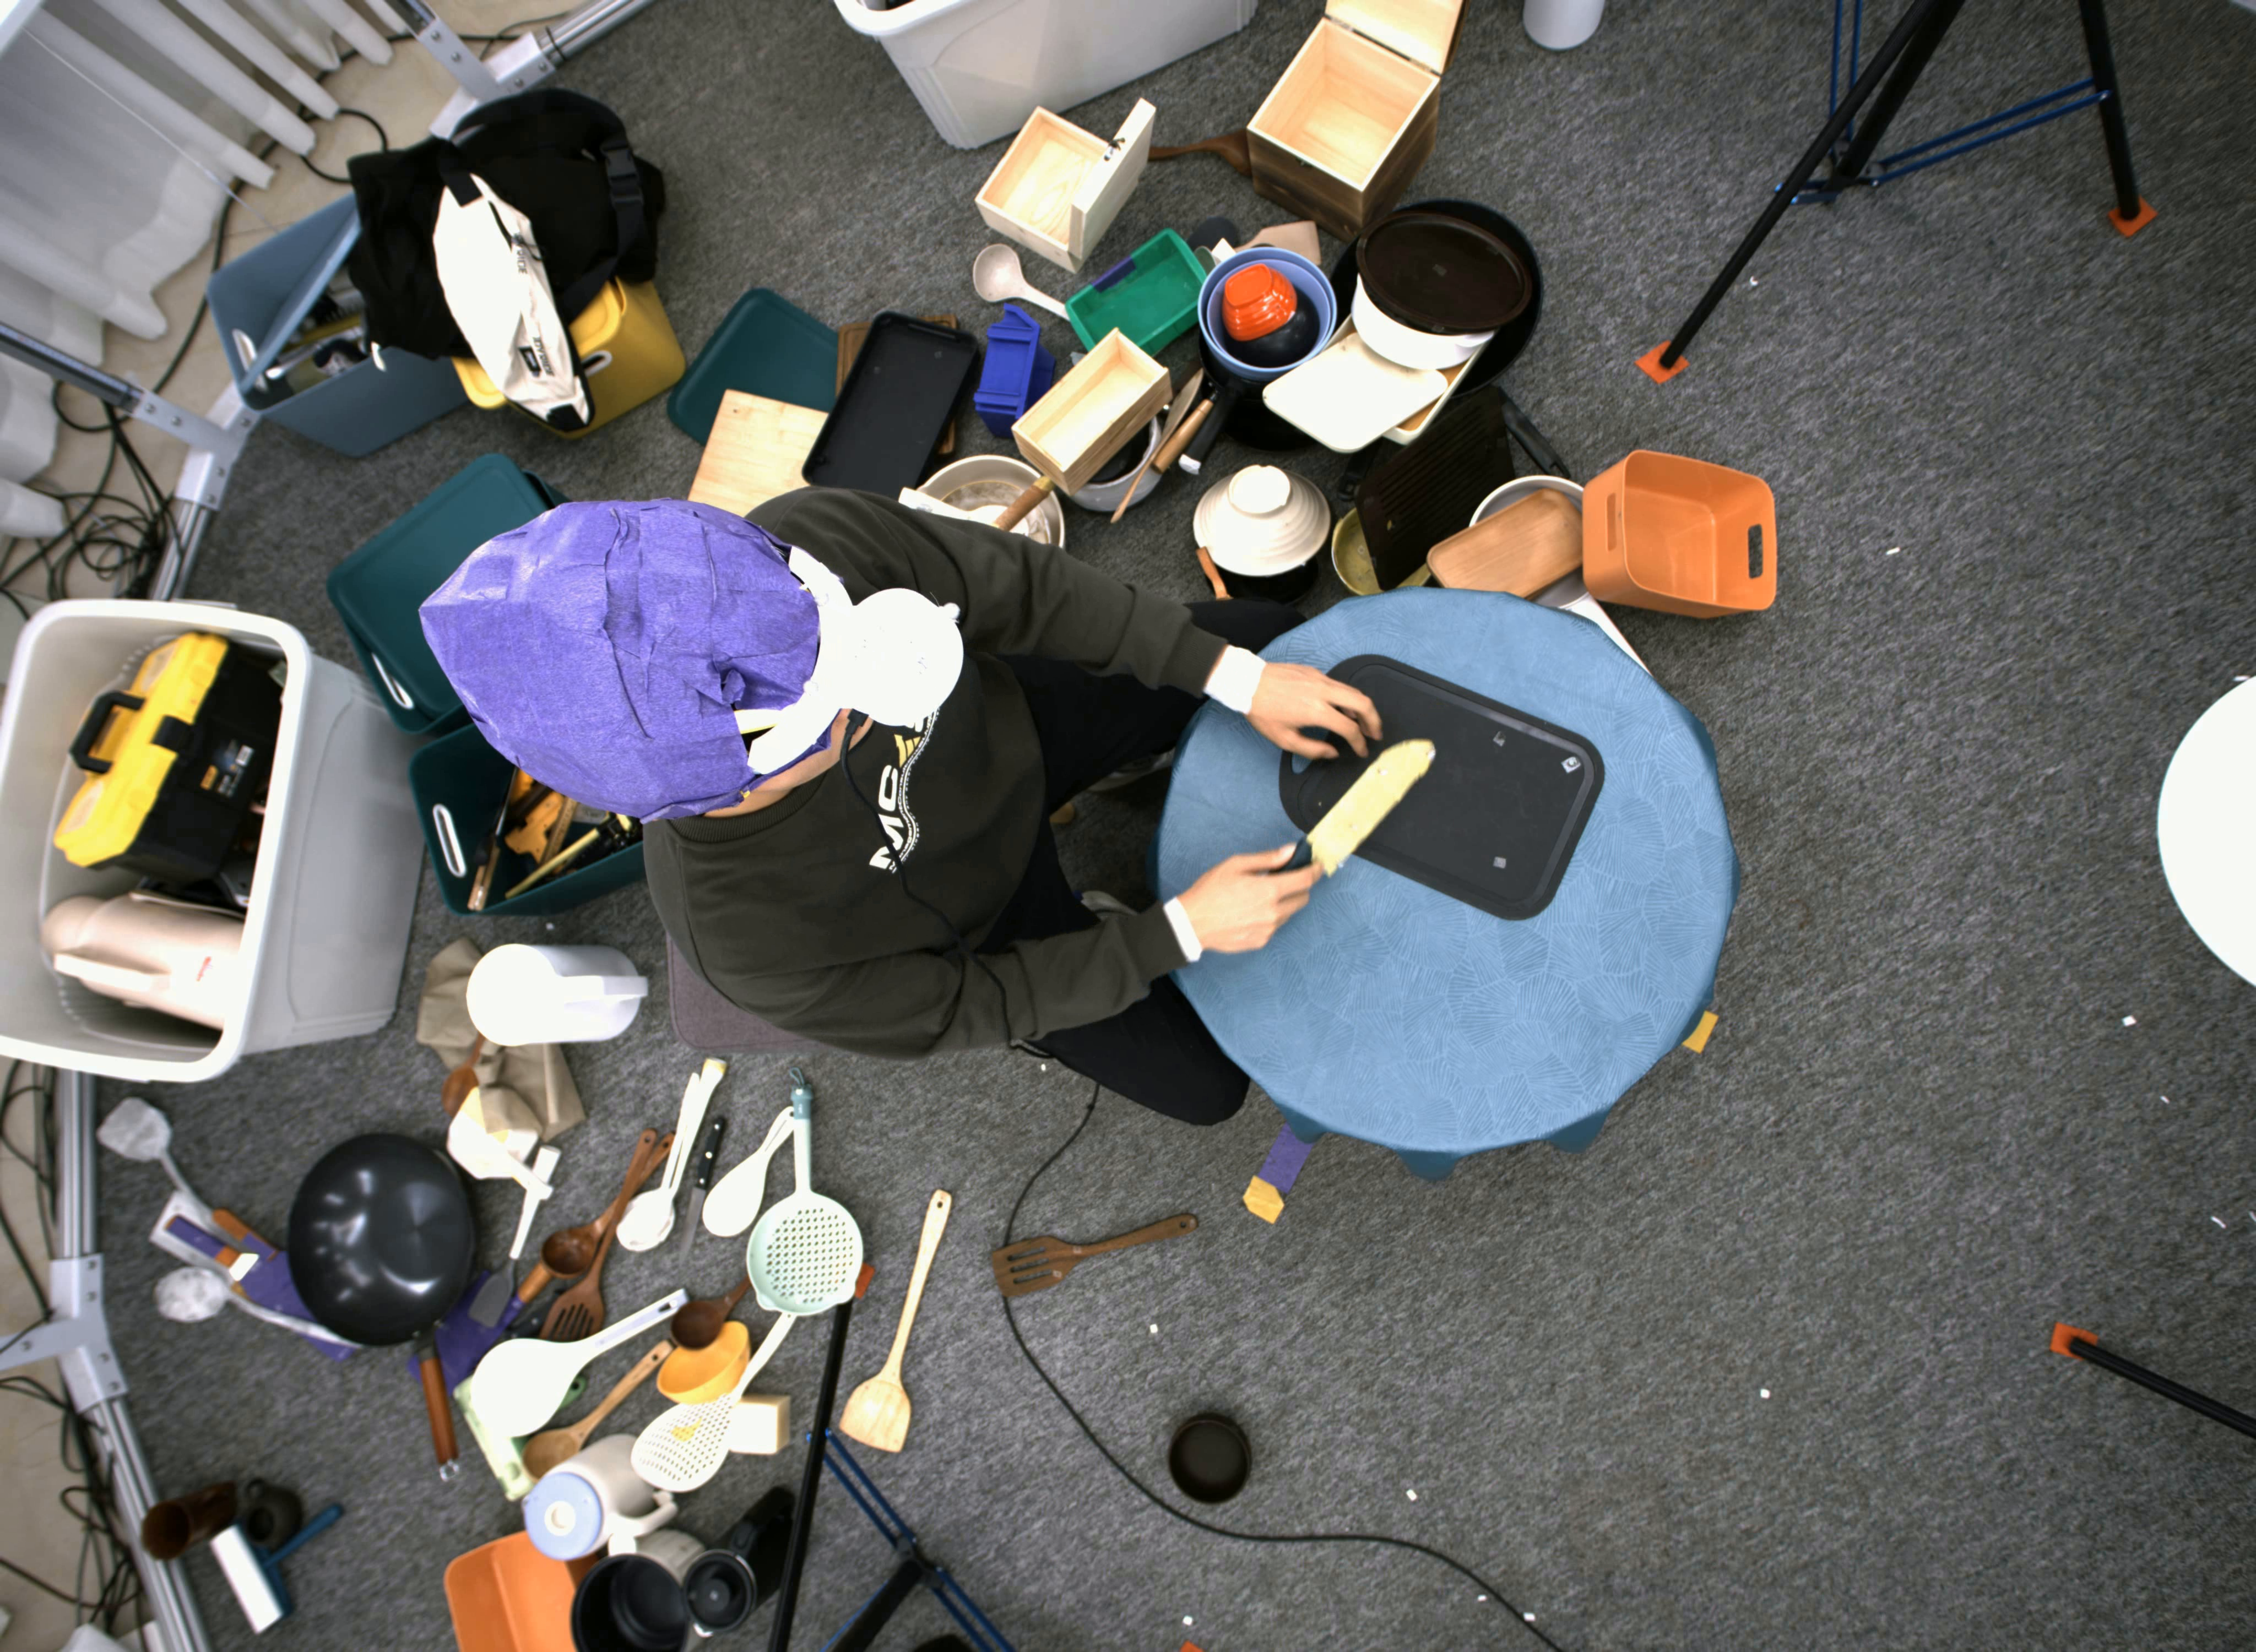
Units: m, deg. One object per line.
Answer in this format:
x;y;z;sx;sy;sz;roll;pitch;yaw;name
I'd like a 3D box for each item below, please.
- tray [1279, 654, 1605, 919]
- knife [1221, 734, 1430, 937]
0.322;-0.049;1.453;0.325;0.010;0.211;24;91;11;tray
0.204;0.010;1.410;0.291;0.082;0.027;-45;47;9;knife
